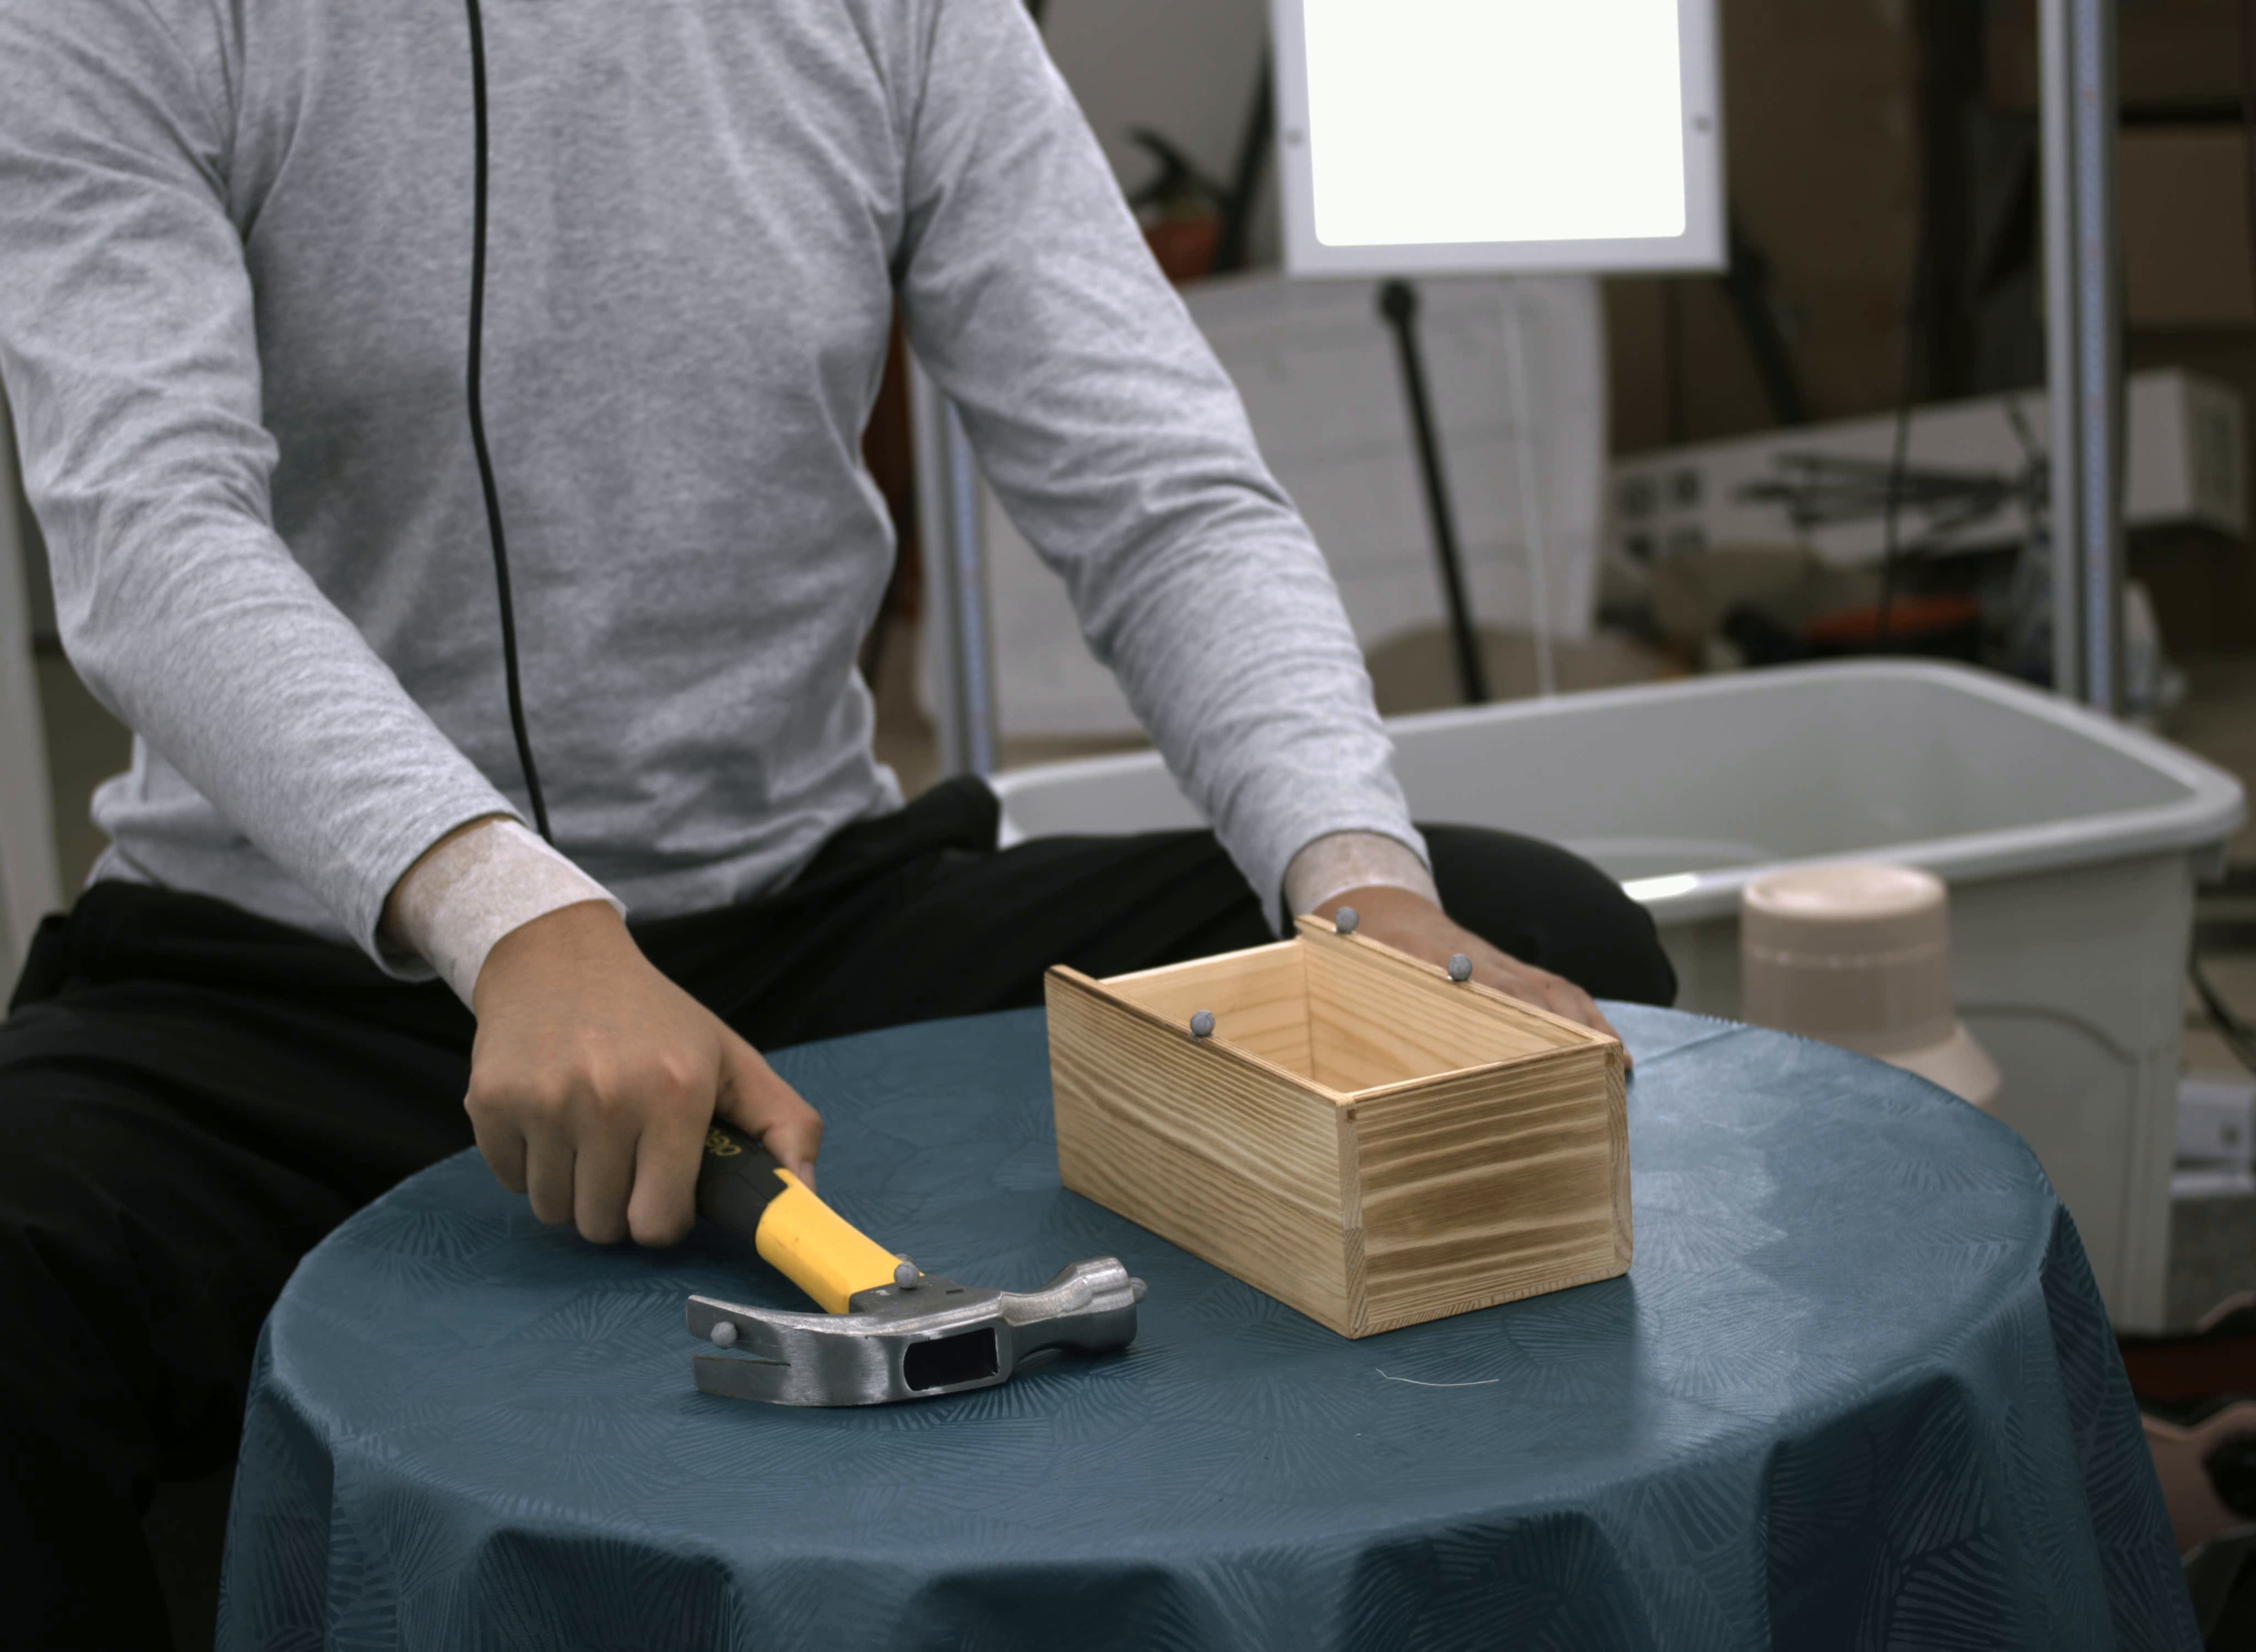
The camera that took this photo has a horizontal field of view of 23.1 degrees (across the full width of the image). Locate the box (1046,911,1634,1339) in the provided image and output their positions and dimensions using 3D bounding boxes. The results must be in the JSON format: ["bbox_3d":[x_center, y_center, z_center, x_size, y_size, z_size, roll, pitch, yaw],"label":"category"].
[{"bbox_3d":[0.068,0.096,1.830,0.105,0.080,0.215,-12,15,-24],"label":"box"}]

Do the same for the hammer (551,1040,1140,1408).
[{"bbox_3d":[-0.123,0.126,1.854,0.129,0.032,0.343,-13,18,-21],"label":"hammer"}]
